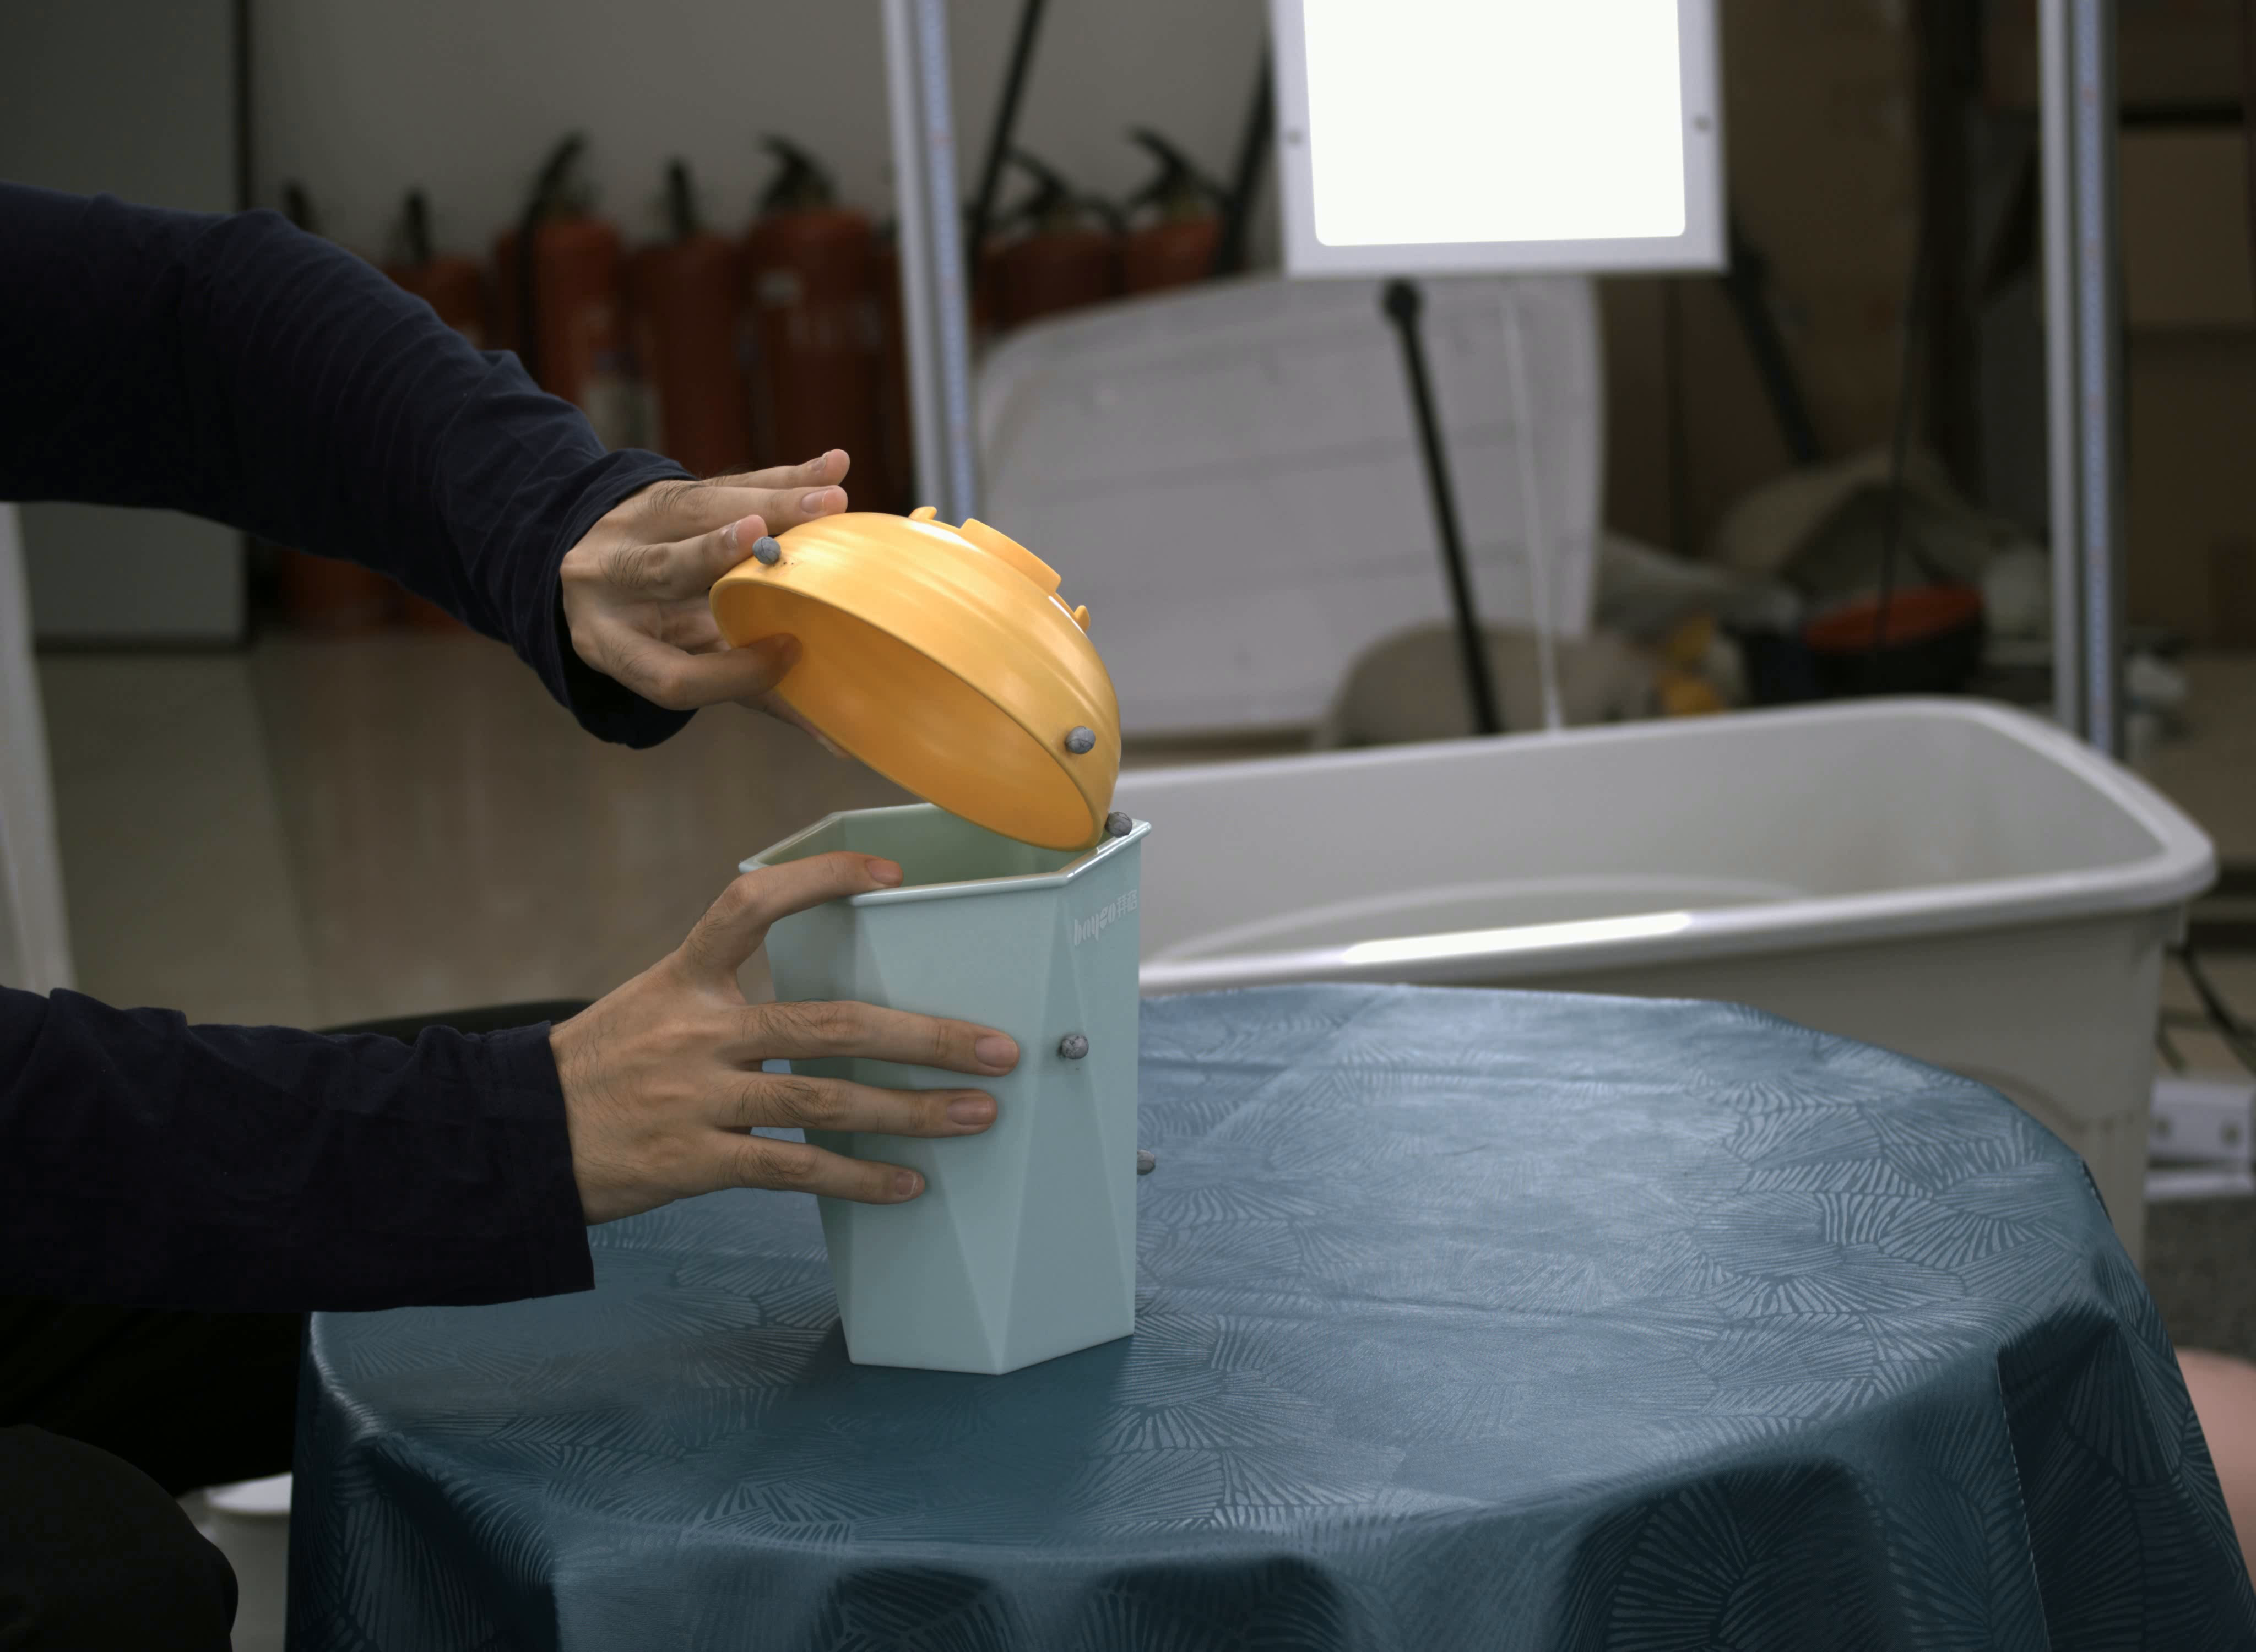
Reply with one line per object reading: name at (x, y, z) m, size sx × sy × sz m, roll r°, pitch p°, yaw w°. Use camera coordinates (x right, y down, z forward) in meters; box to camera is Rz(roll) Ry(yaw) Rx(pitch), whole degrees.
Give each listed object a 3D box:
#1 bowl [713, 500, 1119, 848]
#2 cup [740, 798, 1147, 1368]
bowl at (-0.054, -0.059, 1.722) m, size 0.148 × 0.143 × 0.059 m, roll 13°, pitch 63°, yaw 53°
cup at (-0.051, 0.081, 1.757) m, size 0.117 × 0.163 × 0.128 m, roll 0°, pitch 14°, yaw 24°
